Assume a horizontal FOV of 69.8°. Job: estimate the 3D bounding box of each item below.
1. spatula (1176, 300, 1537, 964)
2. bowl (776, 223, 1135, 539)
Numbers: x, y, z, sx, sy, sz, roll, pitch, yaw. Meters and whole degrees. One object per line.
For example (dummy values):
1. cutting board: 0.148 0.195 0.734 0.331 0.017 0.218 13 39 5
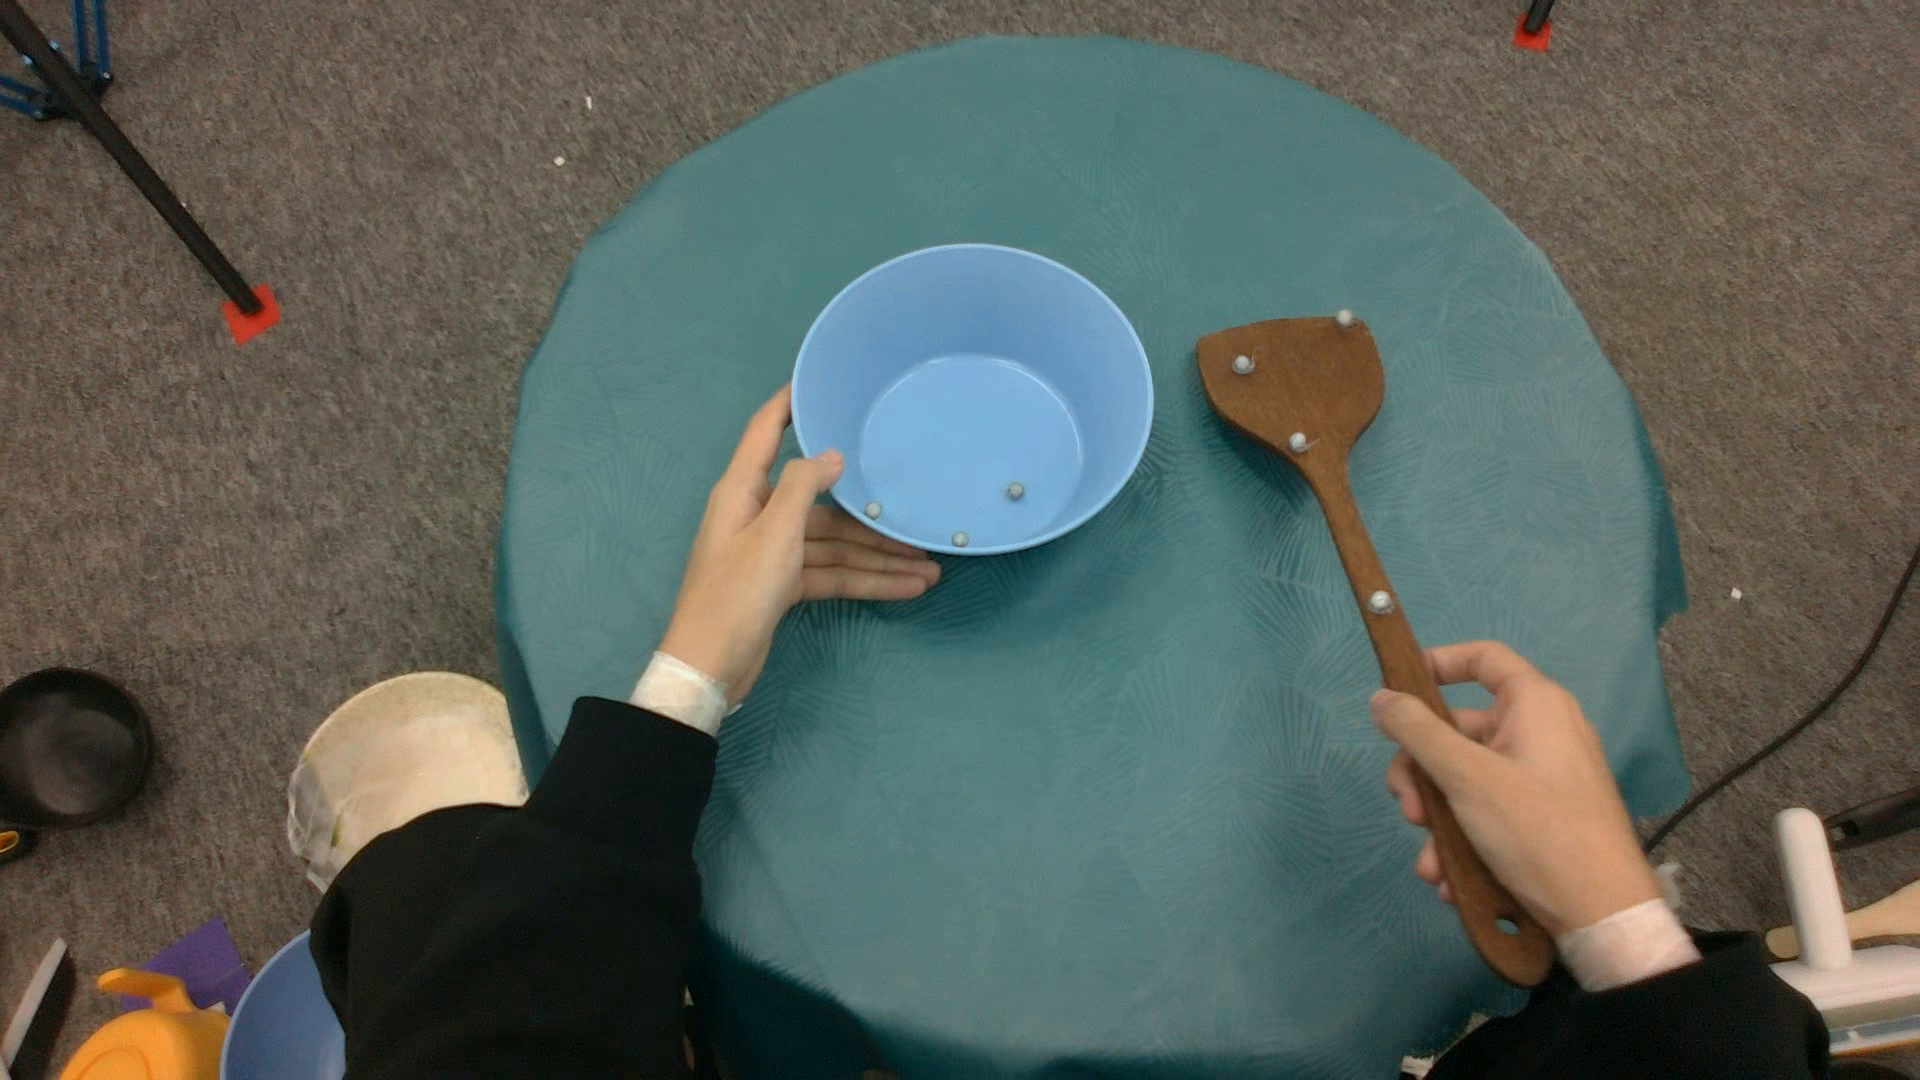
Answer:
1. spatula: 0.177 0.009 0.616 0.096 0.016 0.387 -6 45 -1
2. bowl: -0.002 -0.069 0.697 0.176 0.070 0.176 1 66 -1
